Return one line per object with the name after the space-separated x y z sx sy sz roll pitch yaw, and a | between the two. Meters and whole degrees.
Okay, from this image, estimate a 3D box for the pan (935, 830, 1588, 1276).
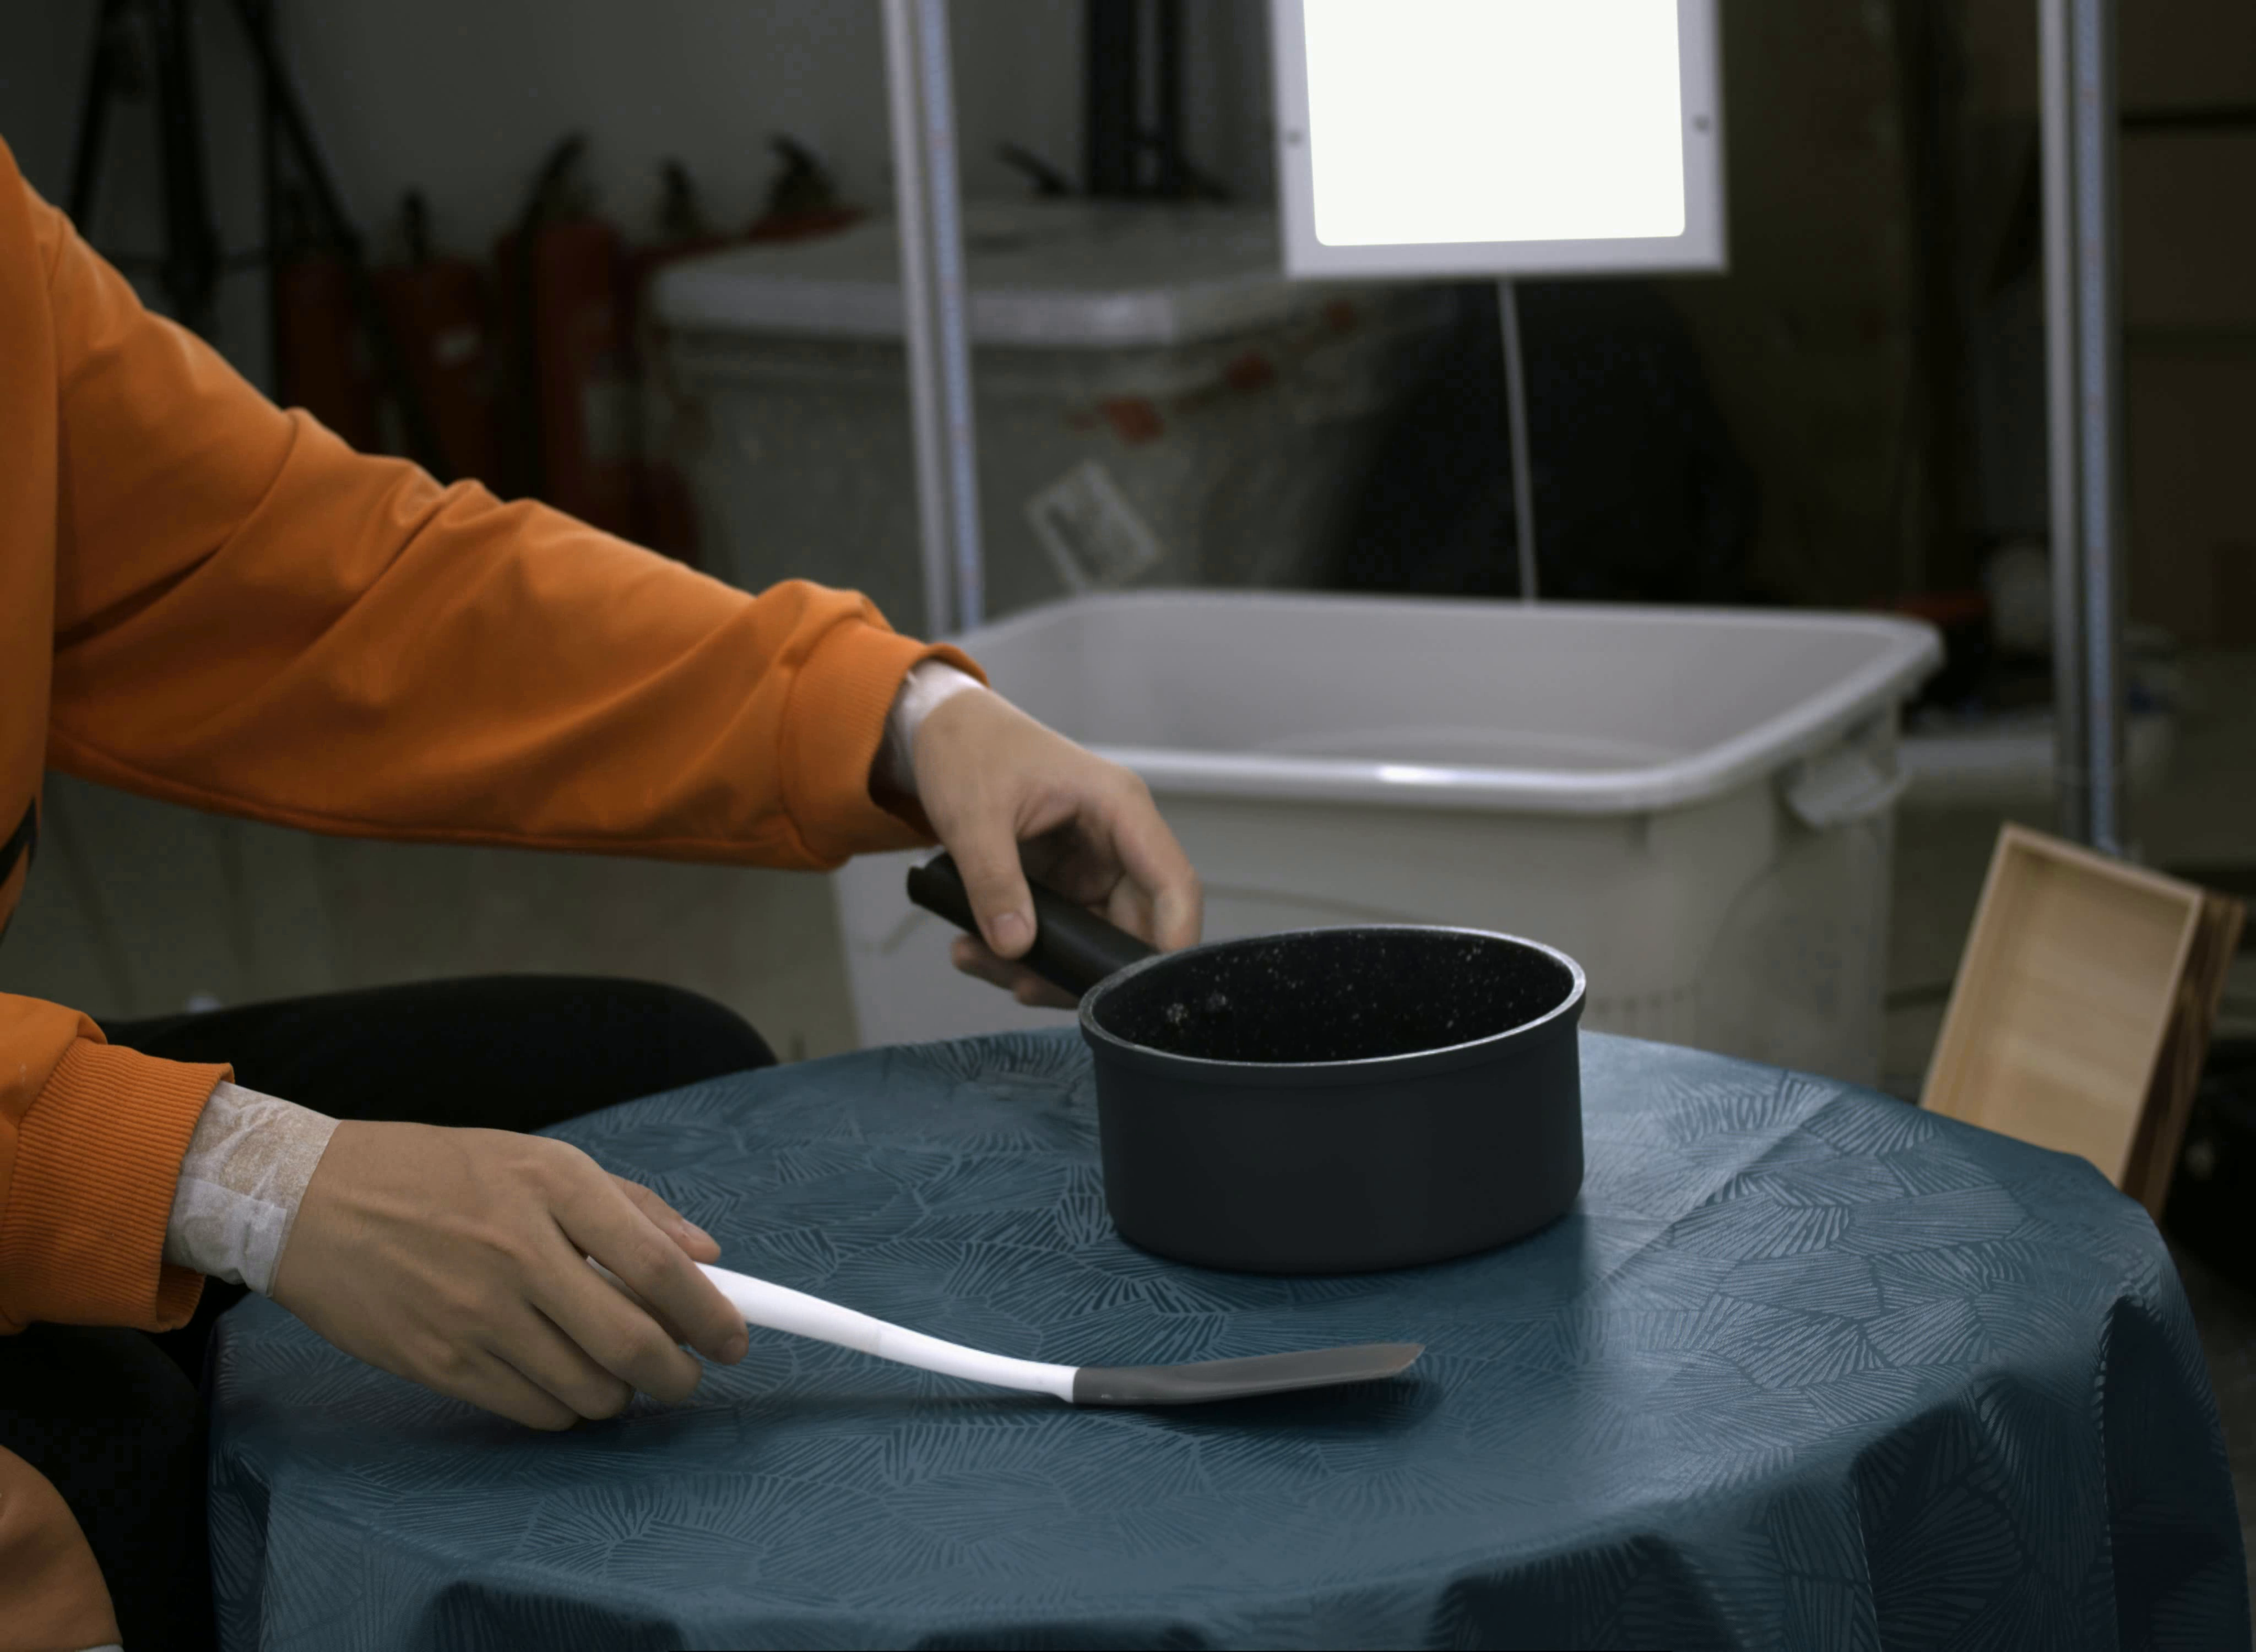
0.028 0.074 1.920 0.168 0.087 0.335 -12 17 -30 | pan

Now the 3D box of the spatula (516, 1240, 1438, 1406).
-0.048 0.158 1.699 0.290 0.032 0.058 5 2 14 | spatula
